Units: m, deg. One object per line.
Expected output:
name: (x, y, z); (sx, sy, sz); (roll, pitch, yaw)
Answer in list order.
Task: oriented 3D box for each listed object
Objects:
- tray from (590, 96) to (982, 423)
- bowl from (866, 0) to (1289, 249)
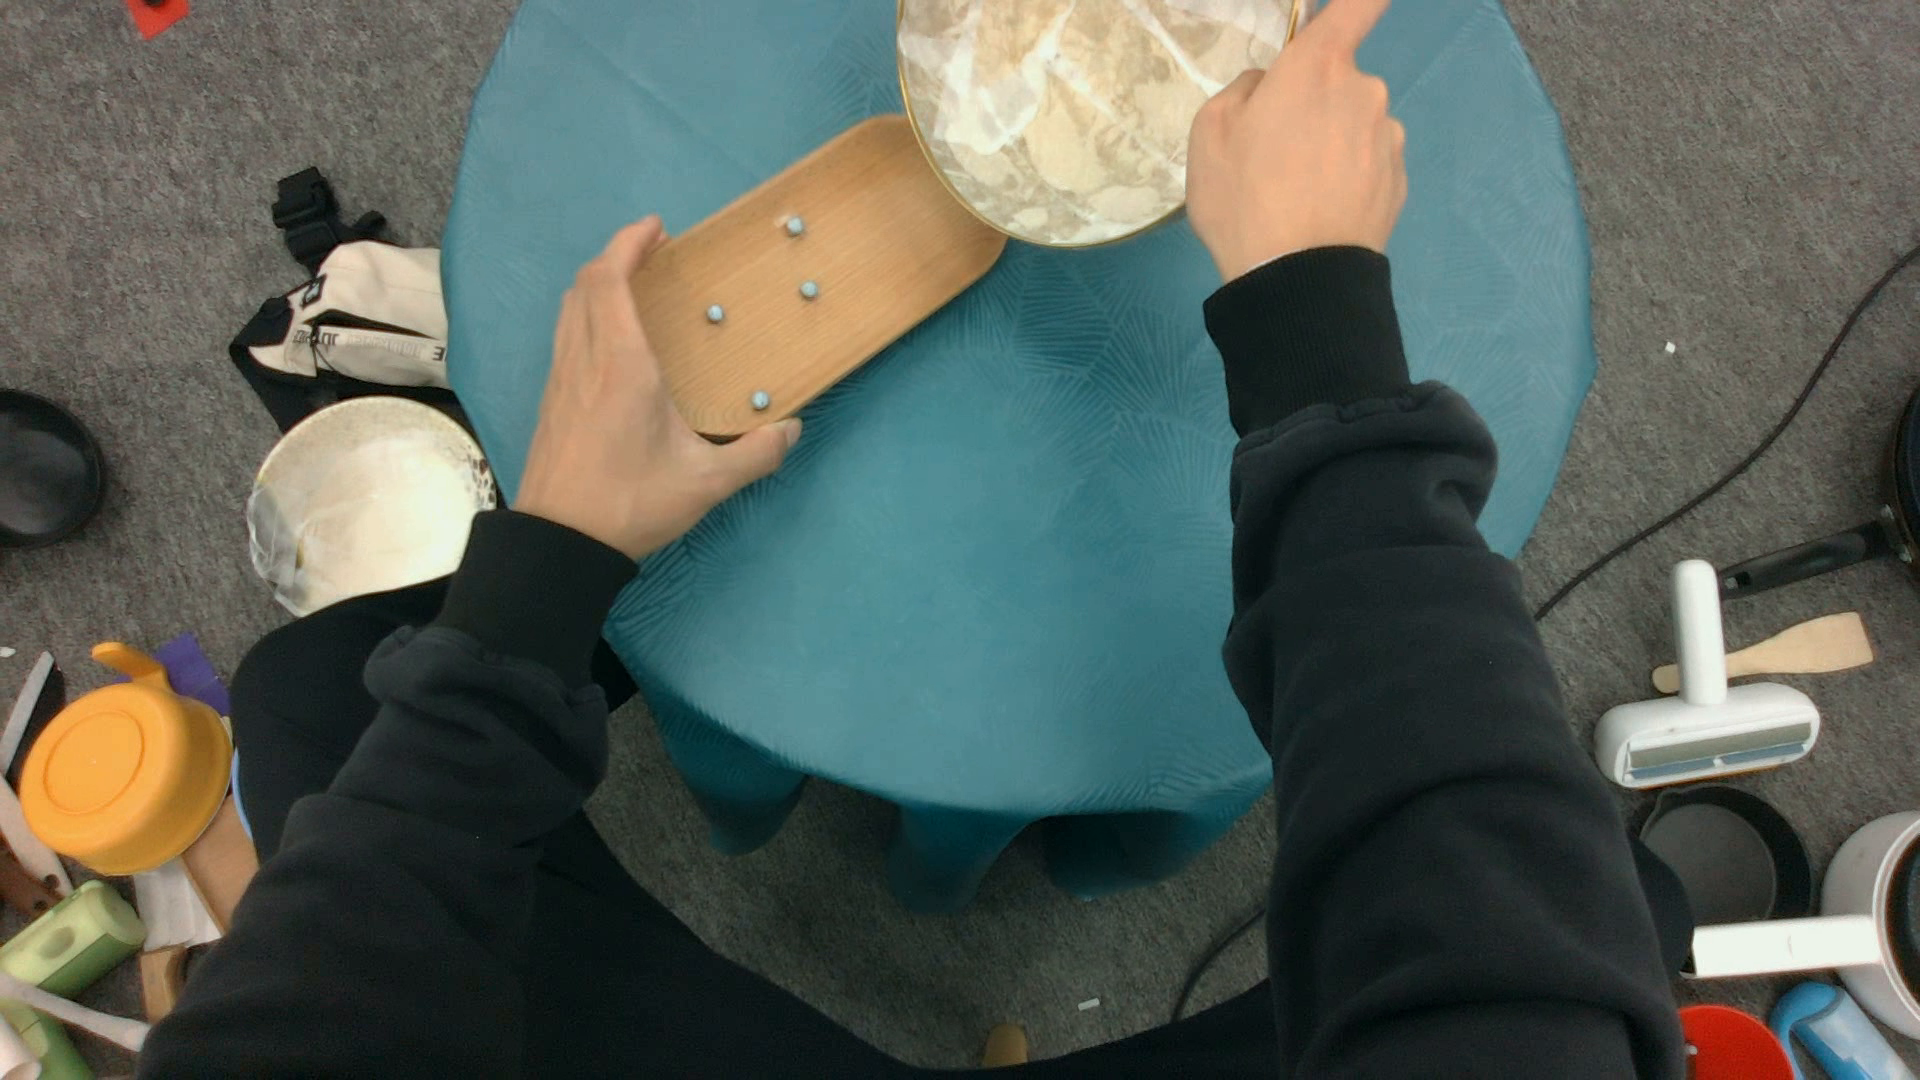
tray: (-0.078, -0.141, 0.679); (0.232, 0.020, 0.101); (-41, 89, -27)
bowl: (0.063, -0.239, 0.638); (0.214, 0.095, 0.214); (7, 103, 33)
